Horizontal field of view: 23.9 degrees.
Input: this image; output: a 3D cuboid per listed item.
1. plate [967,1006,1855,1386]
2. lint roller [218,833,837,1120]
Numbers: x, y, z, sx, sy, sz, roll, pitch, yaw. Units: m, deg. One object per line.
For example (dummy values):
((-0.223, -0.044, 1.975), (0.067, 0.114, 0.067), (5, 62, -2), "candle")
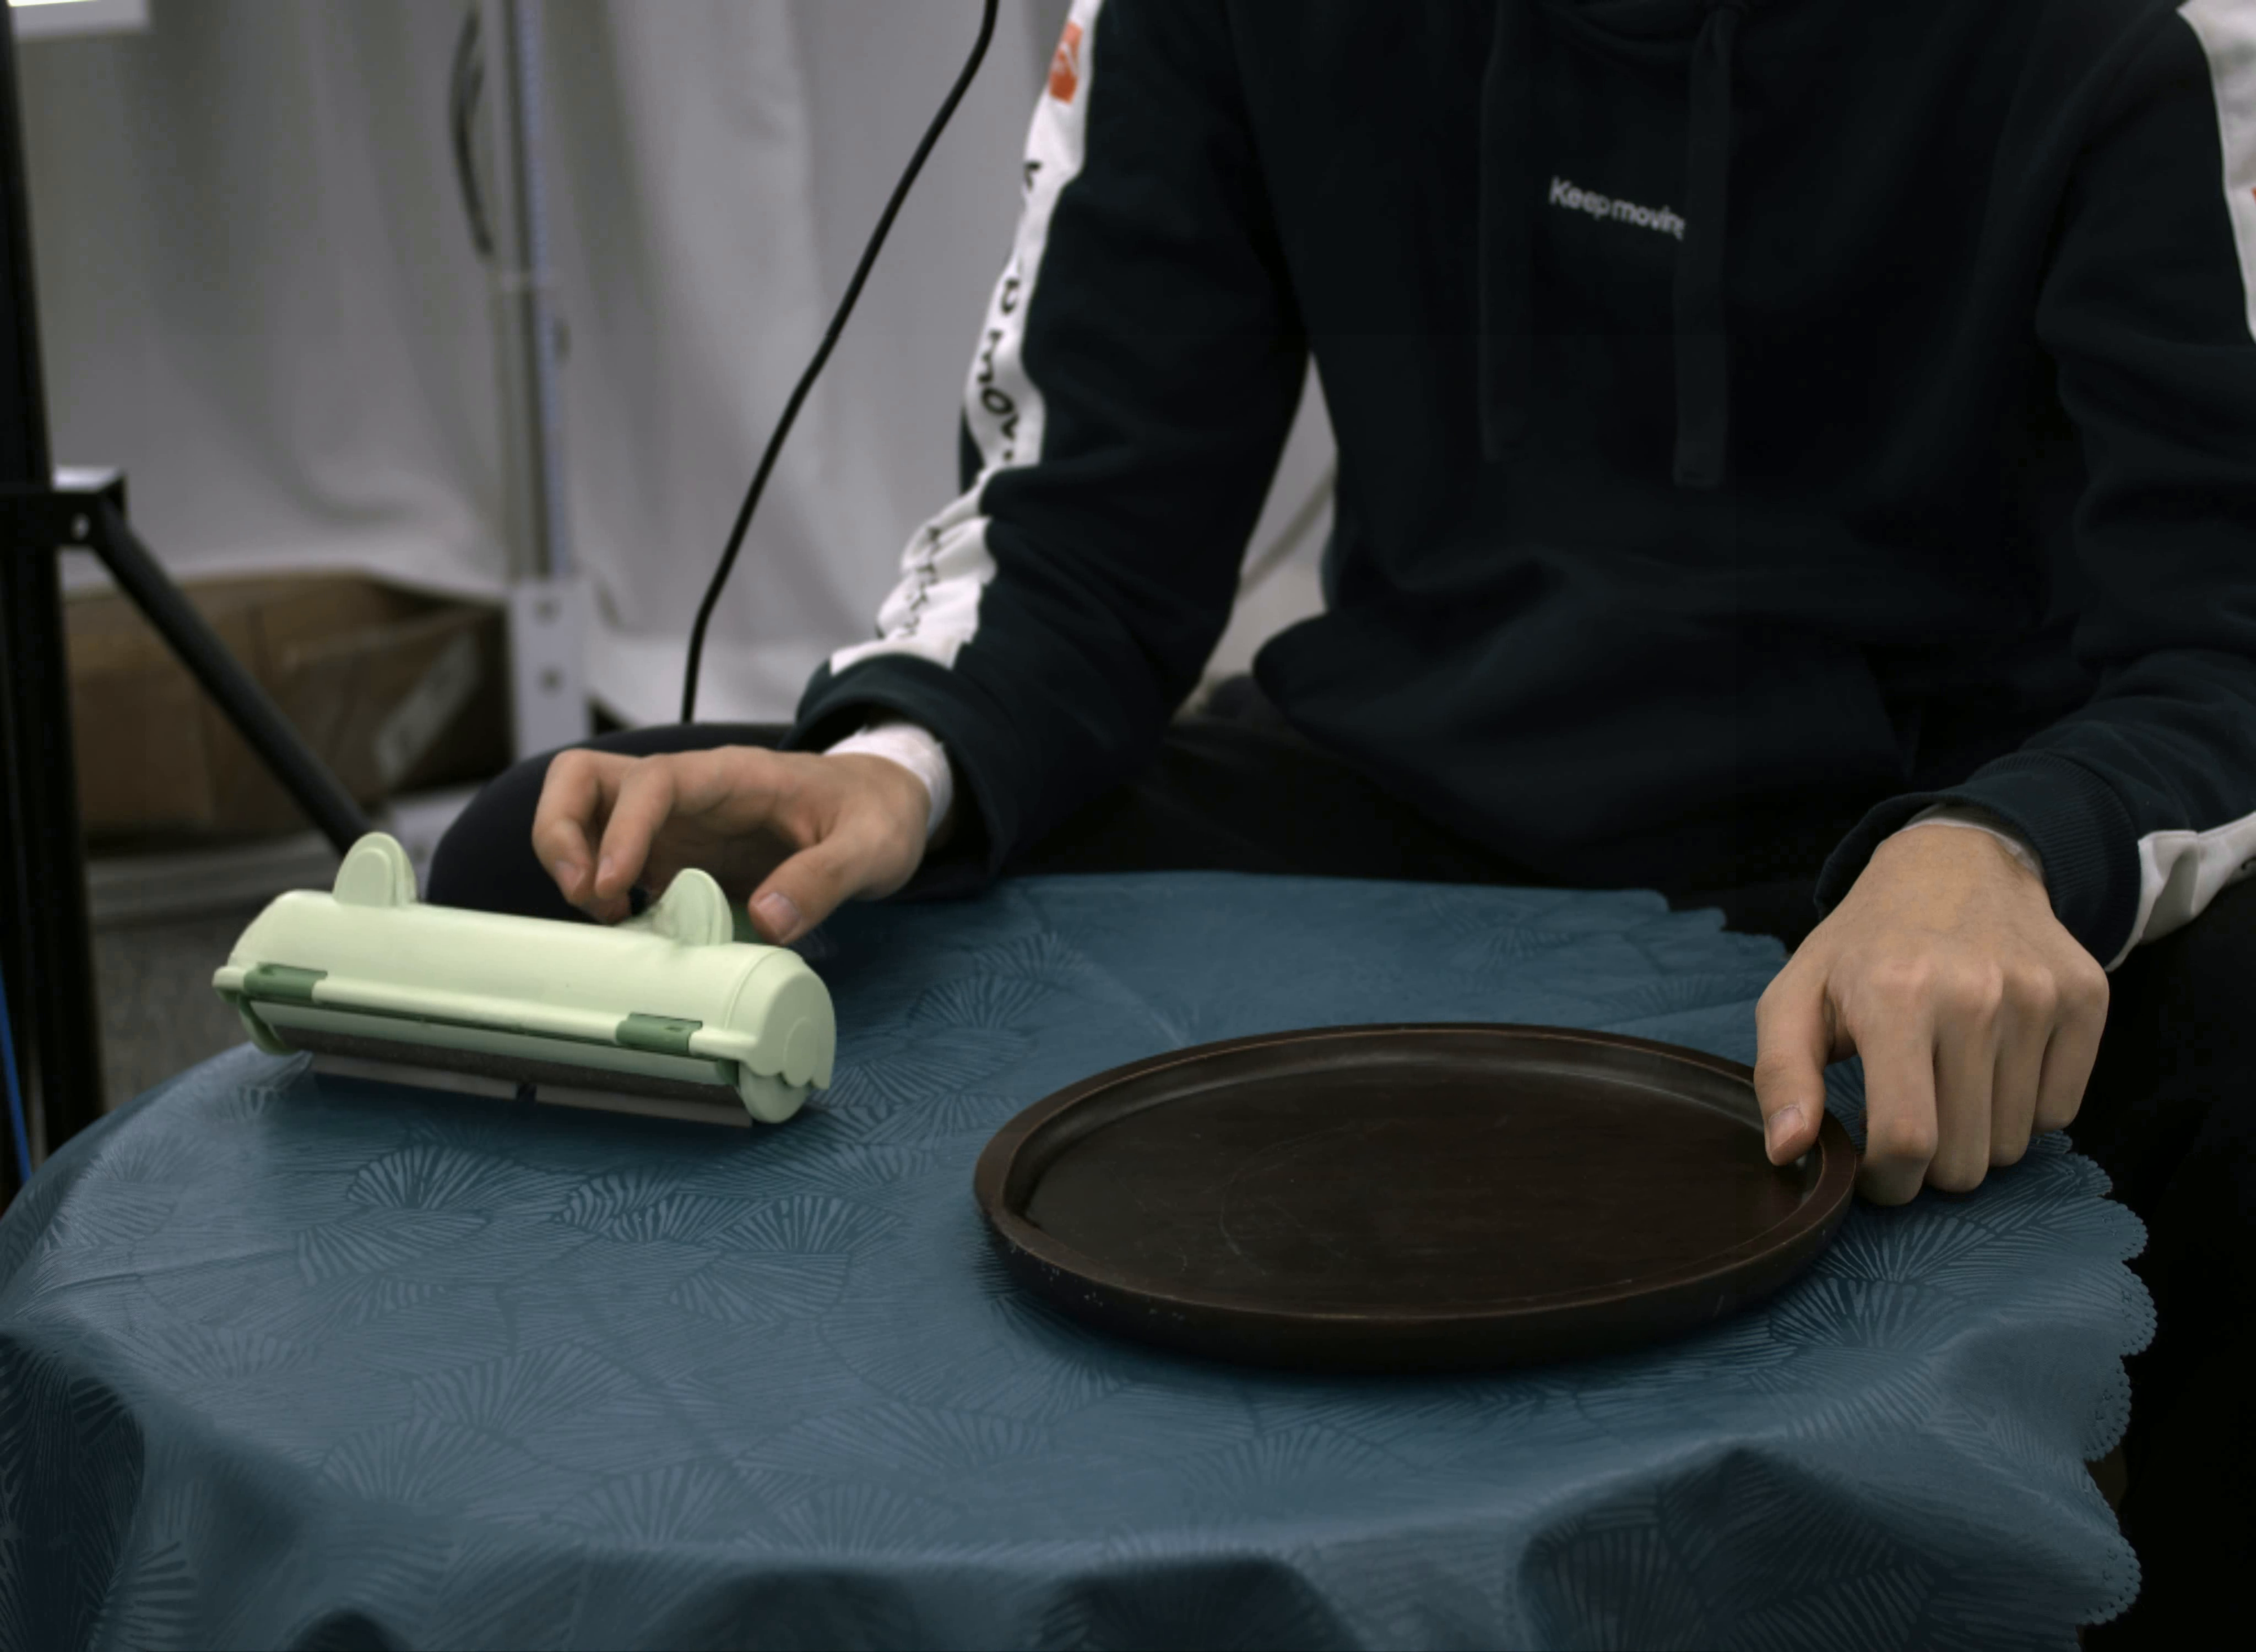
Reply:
((0.081, 0.105, 1.510), (0.253, 0.029, 0.256), (-4, 16, 0), "plate")
((-0.163, 0.031, 1.708), (0.202, 0.082, 0.180), (6, 22, 27), "lint roller")
